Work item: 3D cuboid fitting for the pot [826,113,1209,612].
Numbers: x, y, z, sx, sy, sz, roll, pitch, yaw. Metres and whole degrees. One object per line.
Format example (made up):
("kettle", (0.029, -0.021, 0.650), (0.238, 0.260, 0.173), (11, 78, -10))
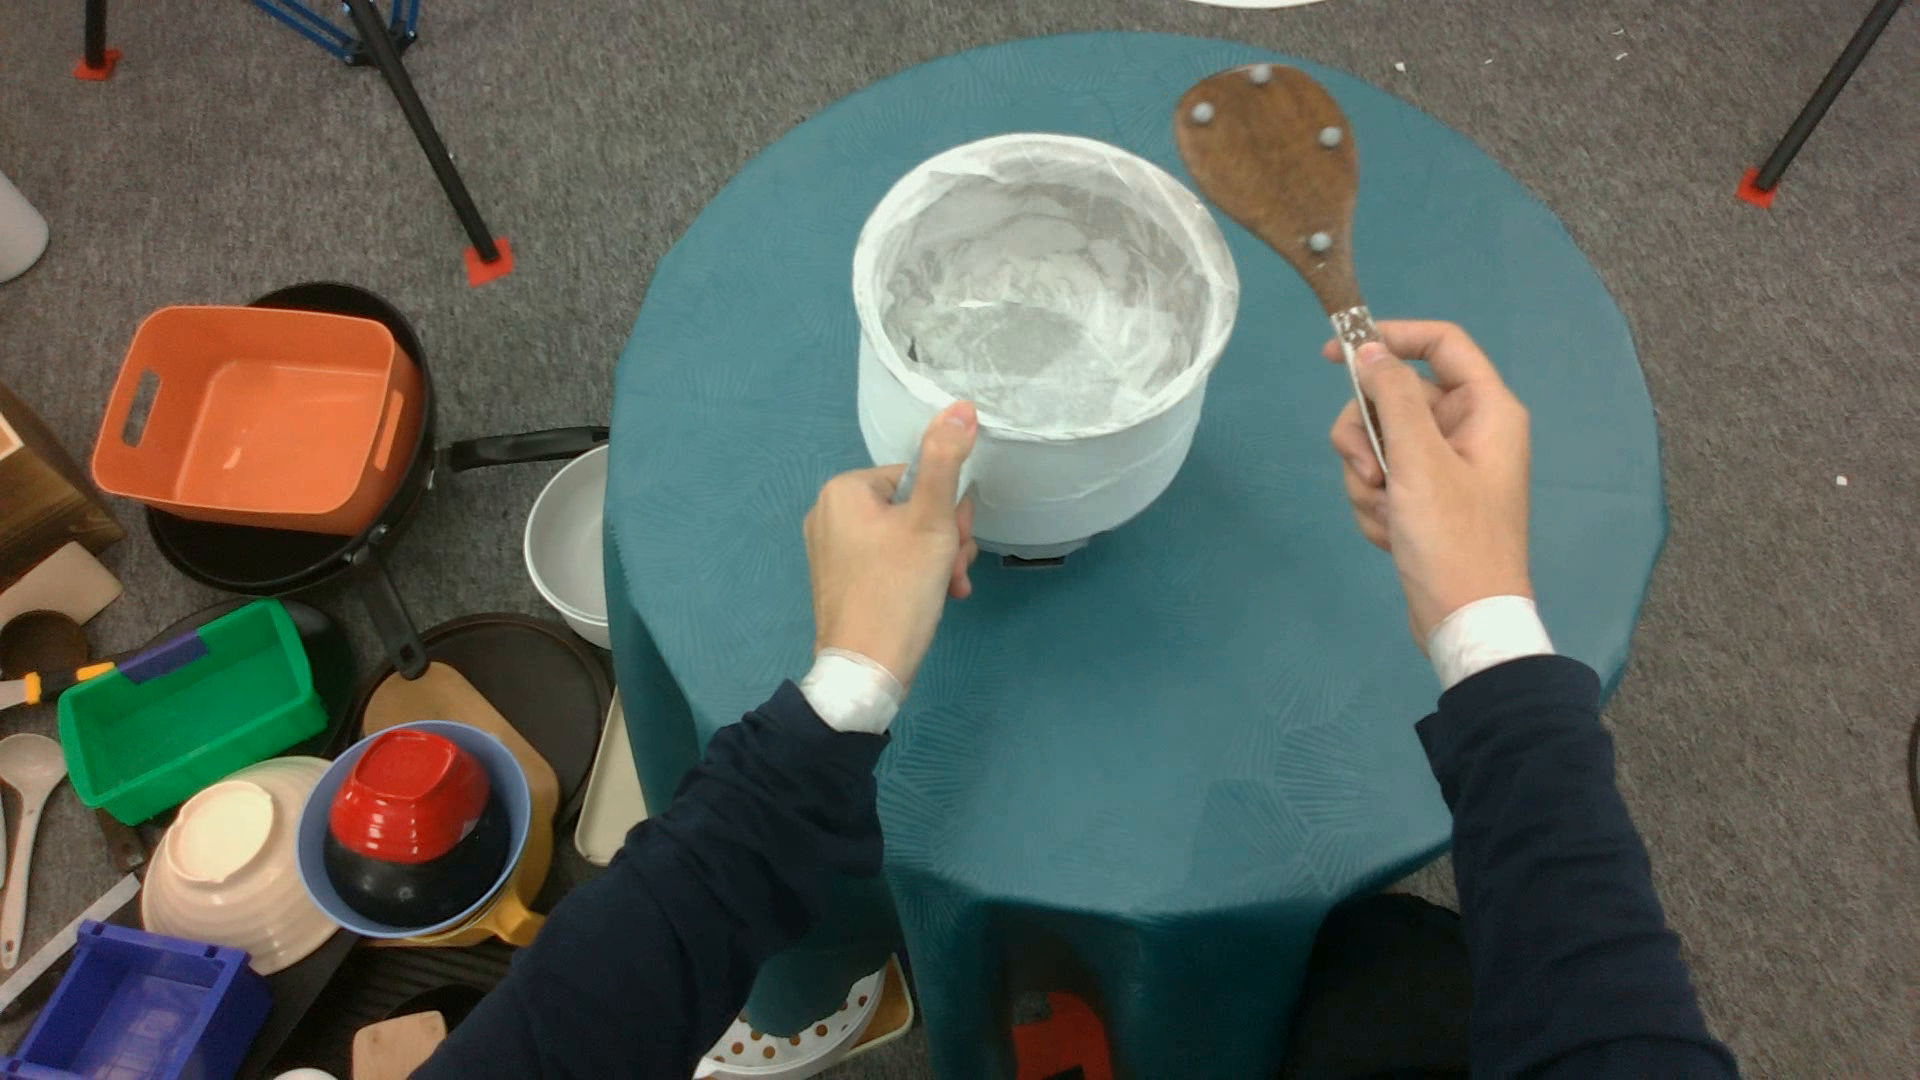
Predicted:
("pot", (0.014, -0.080, 0.675), (0.178, 0.136, 0.235), (22, 62, 11))

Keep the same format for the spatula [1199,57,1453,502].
("spatula", (0.159, -0.114, 0.583), (0.072, 0.009, 0.216), (-15, 74, -2))
